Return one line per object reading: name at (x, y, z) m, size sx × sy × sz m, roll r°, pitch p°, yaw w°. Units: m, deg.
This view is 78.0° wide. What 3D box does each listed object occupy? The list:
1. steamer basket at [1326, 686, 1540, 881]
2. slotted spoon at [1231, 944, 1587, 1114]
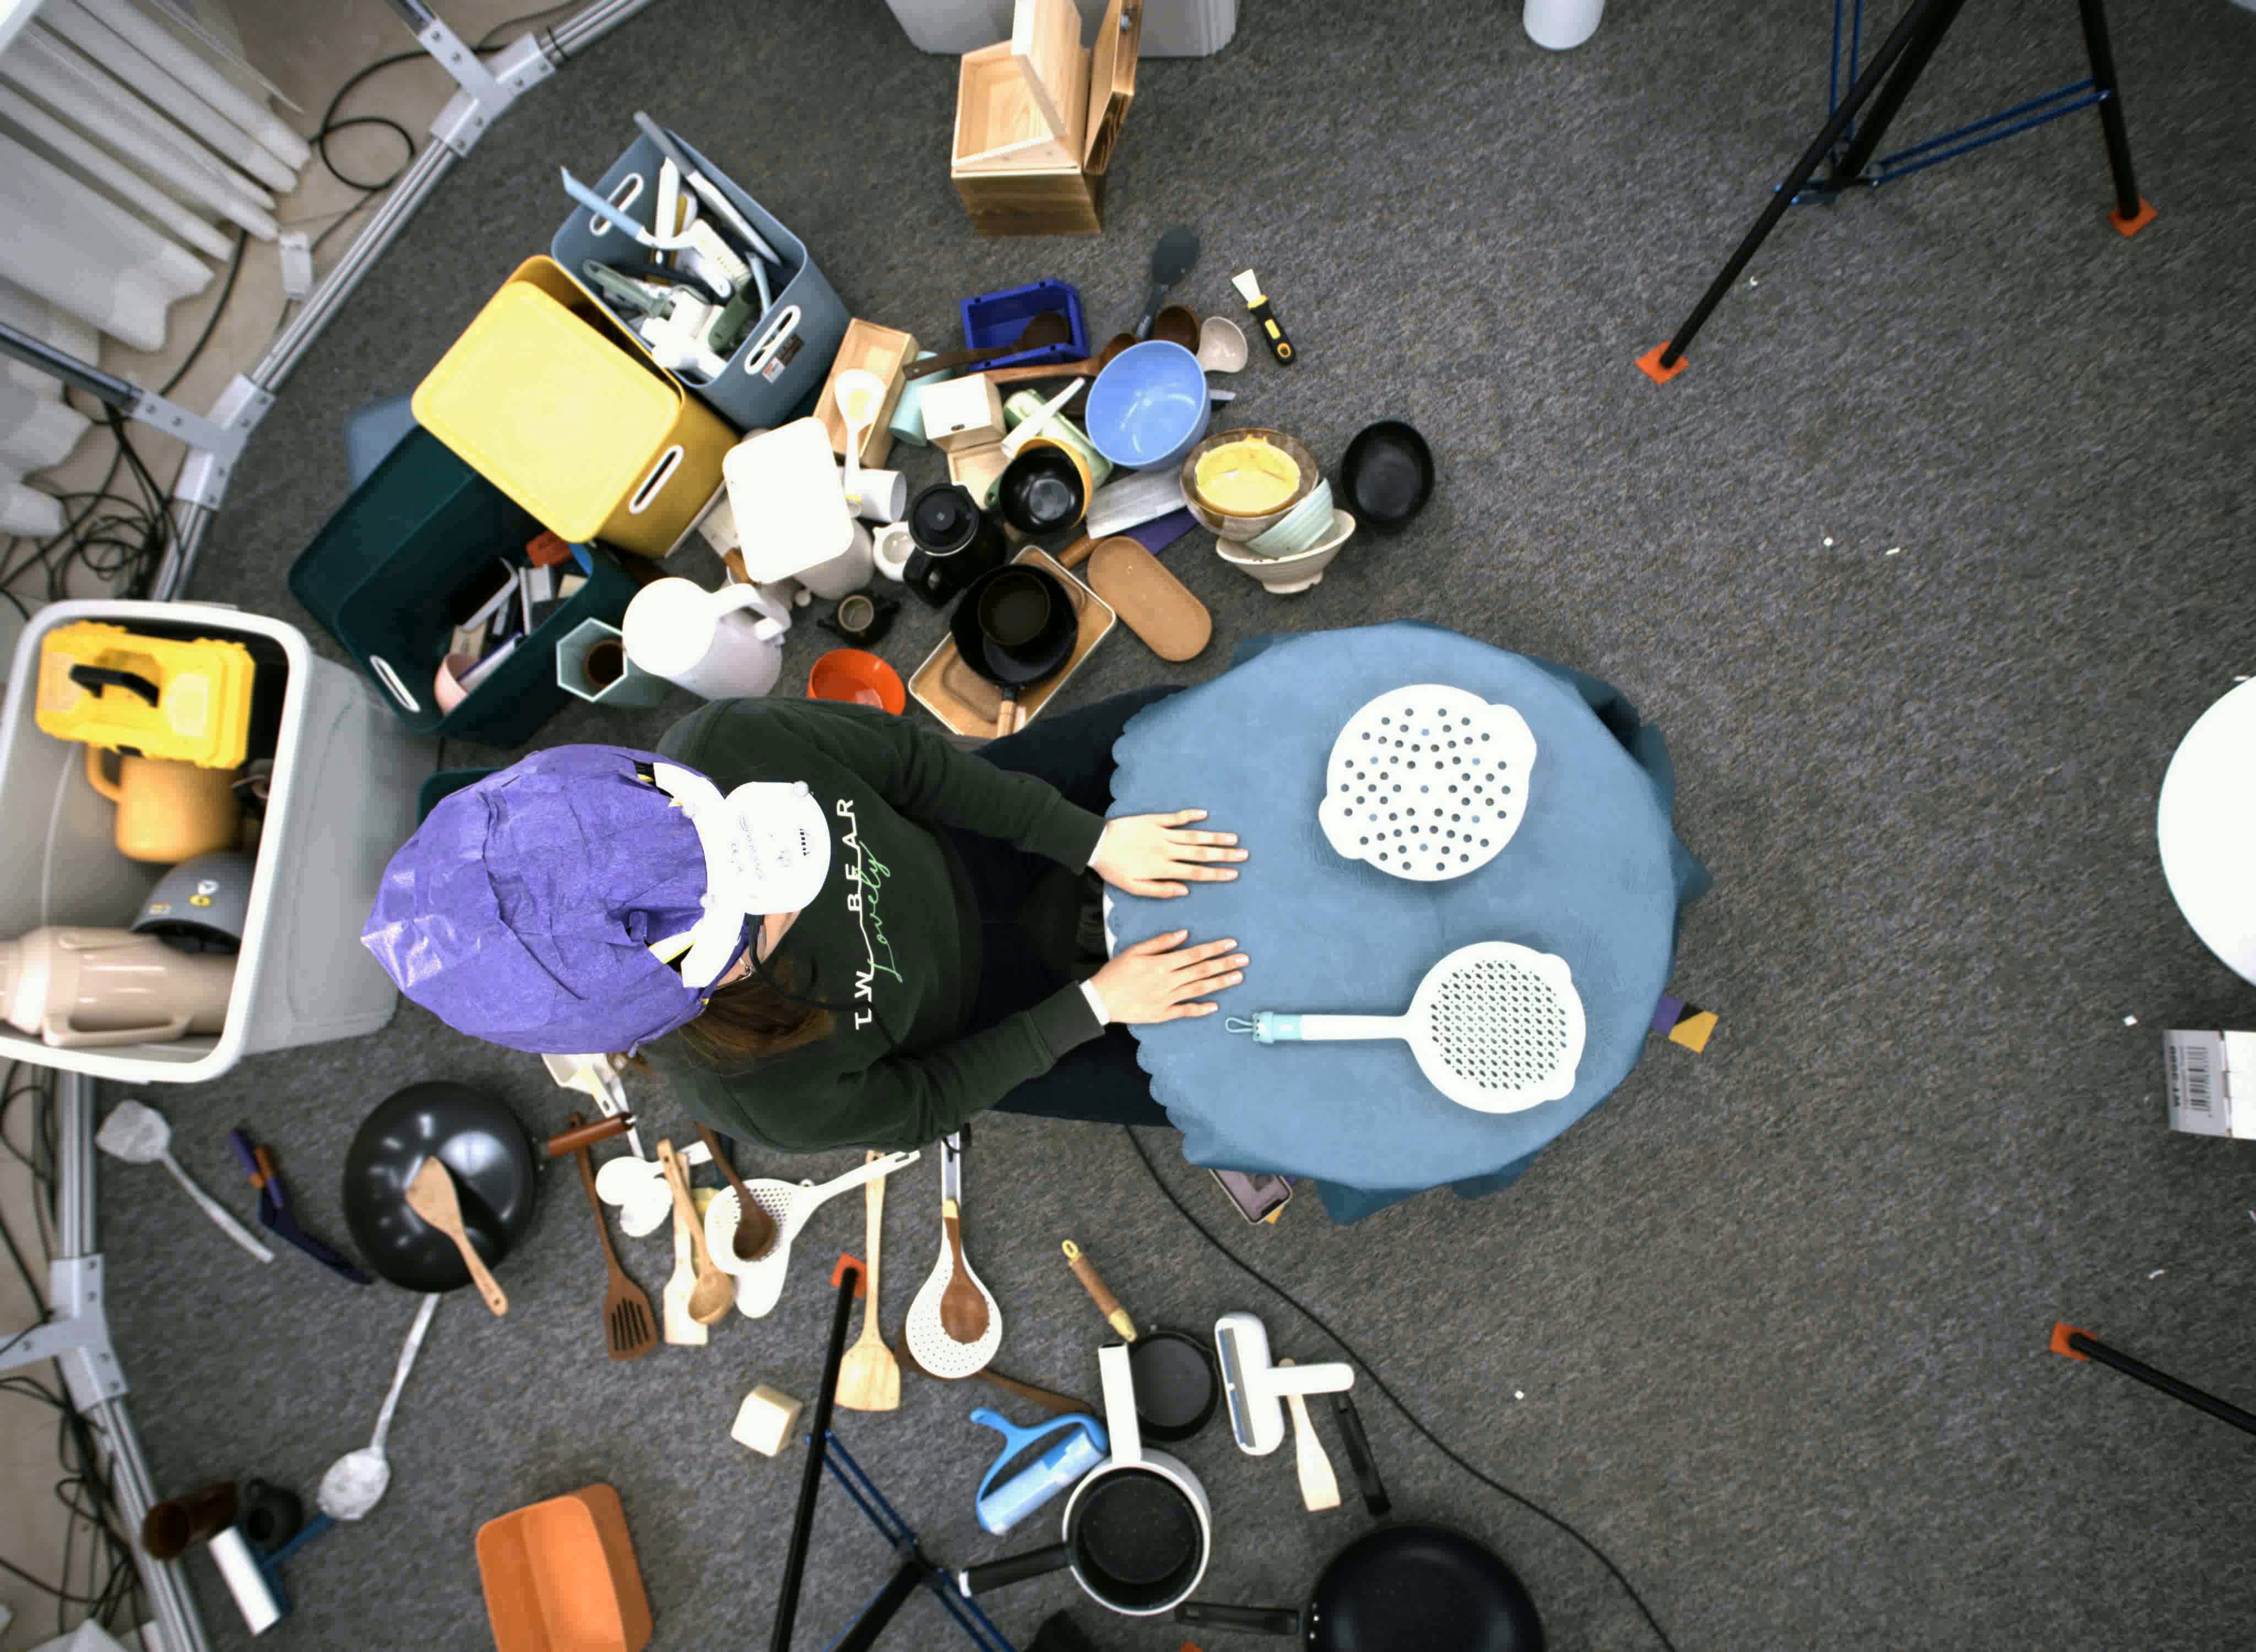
steamer basket at (0.316, -0.043, 1.432) m, size 0.232 × 0.069 × 0.200 m, roll -30°, pitch 80°, yaw 7°
slotted spoon at (0.281, 0.206, 1.421) m, size 0.360 × 0.075 × 0.168 m, roll -2°, pitch 85°, yaw 10°
